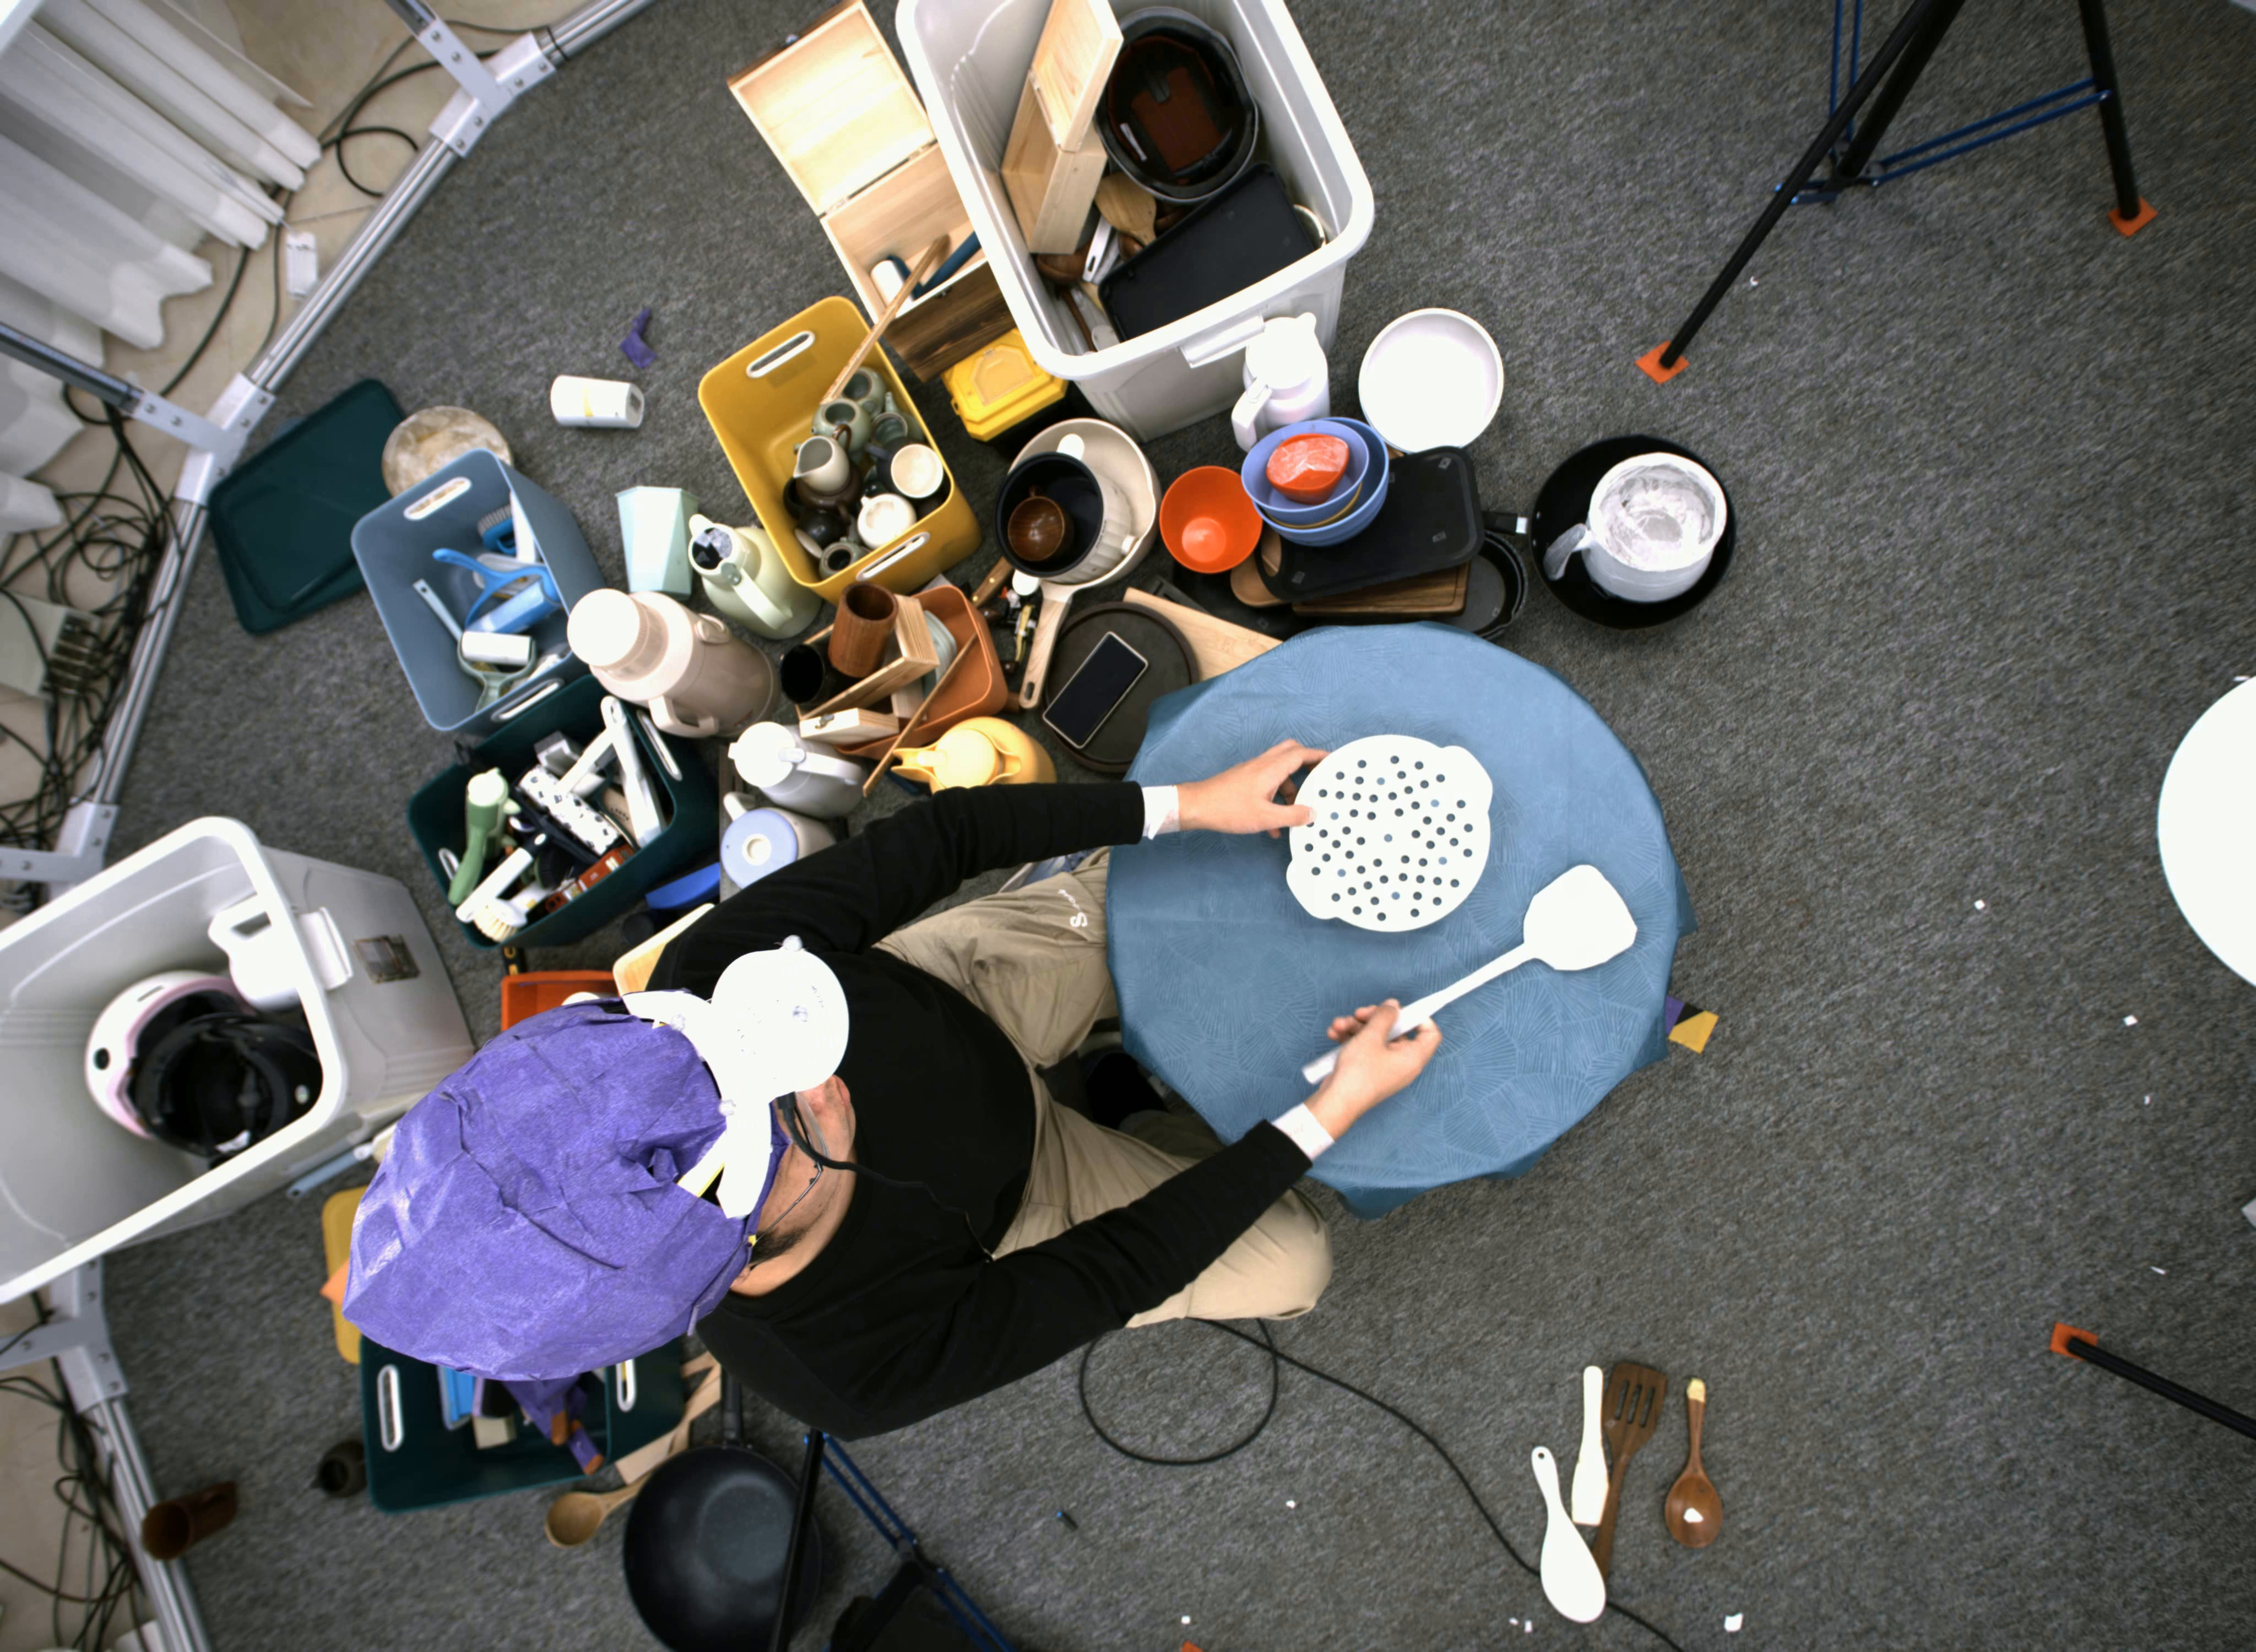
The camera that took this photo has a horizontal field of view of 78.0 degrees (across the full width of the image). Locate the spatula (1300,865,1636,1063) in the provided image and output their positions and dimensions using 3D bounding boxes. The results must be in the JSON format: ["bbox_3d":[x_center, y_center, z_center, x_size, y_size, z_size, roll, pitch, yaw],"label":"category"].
[{"bbox_3d":[0.342,0.154,1.398,0.364,0.045,0.098,-26,79,-6],"label":"spatula"}]

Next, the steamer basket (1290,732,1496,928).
[{"bbox_3d":[0.274,0.005,1.427,0.232,0.069,0.200,-37,80,7],"label":"steamer basket"}]
